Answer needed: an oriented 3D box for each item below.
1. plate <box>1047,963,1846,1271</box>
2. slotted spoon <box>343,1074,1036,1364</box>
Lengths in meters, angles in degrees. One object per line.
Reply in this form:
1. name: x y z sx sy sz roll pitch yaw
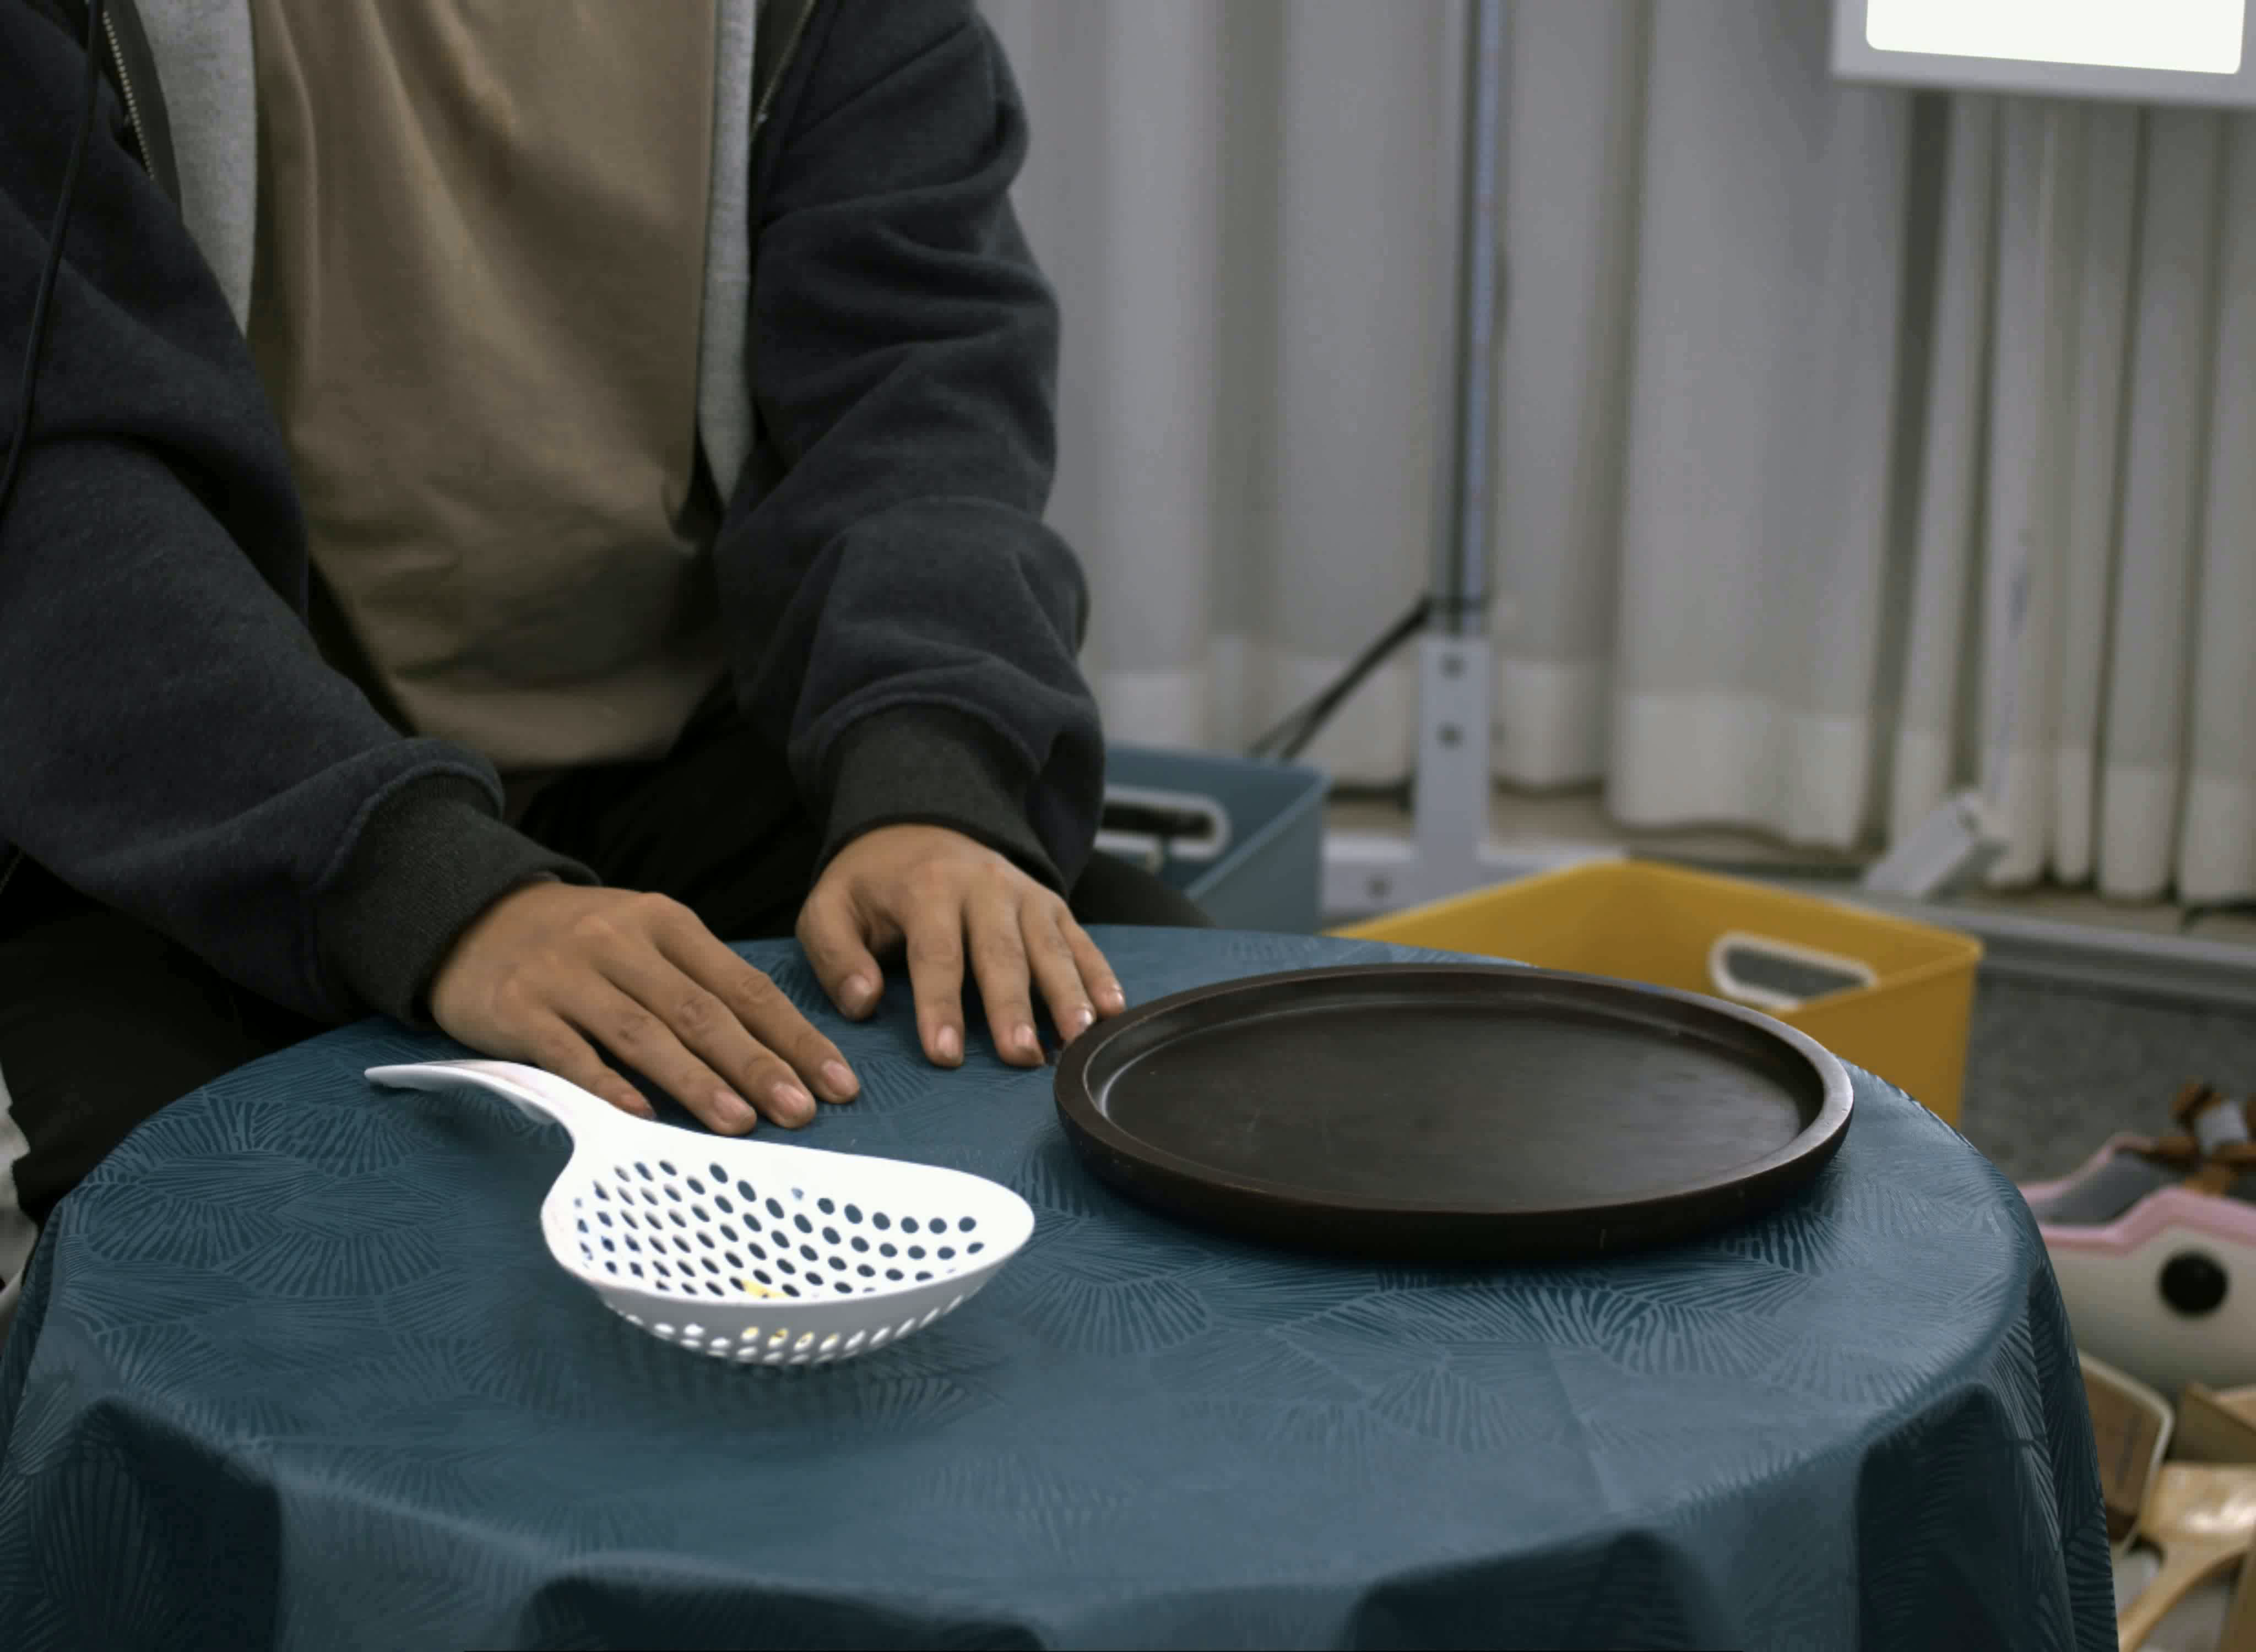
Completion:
1. plate: 0.101 0.089 1.666 0.254 0.029 0.253 0 16 1
2. slotted spoon: -0.152 0.103 1.573 0.137 0.051 0.343 -12 20 -30
